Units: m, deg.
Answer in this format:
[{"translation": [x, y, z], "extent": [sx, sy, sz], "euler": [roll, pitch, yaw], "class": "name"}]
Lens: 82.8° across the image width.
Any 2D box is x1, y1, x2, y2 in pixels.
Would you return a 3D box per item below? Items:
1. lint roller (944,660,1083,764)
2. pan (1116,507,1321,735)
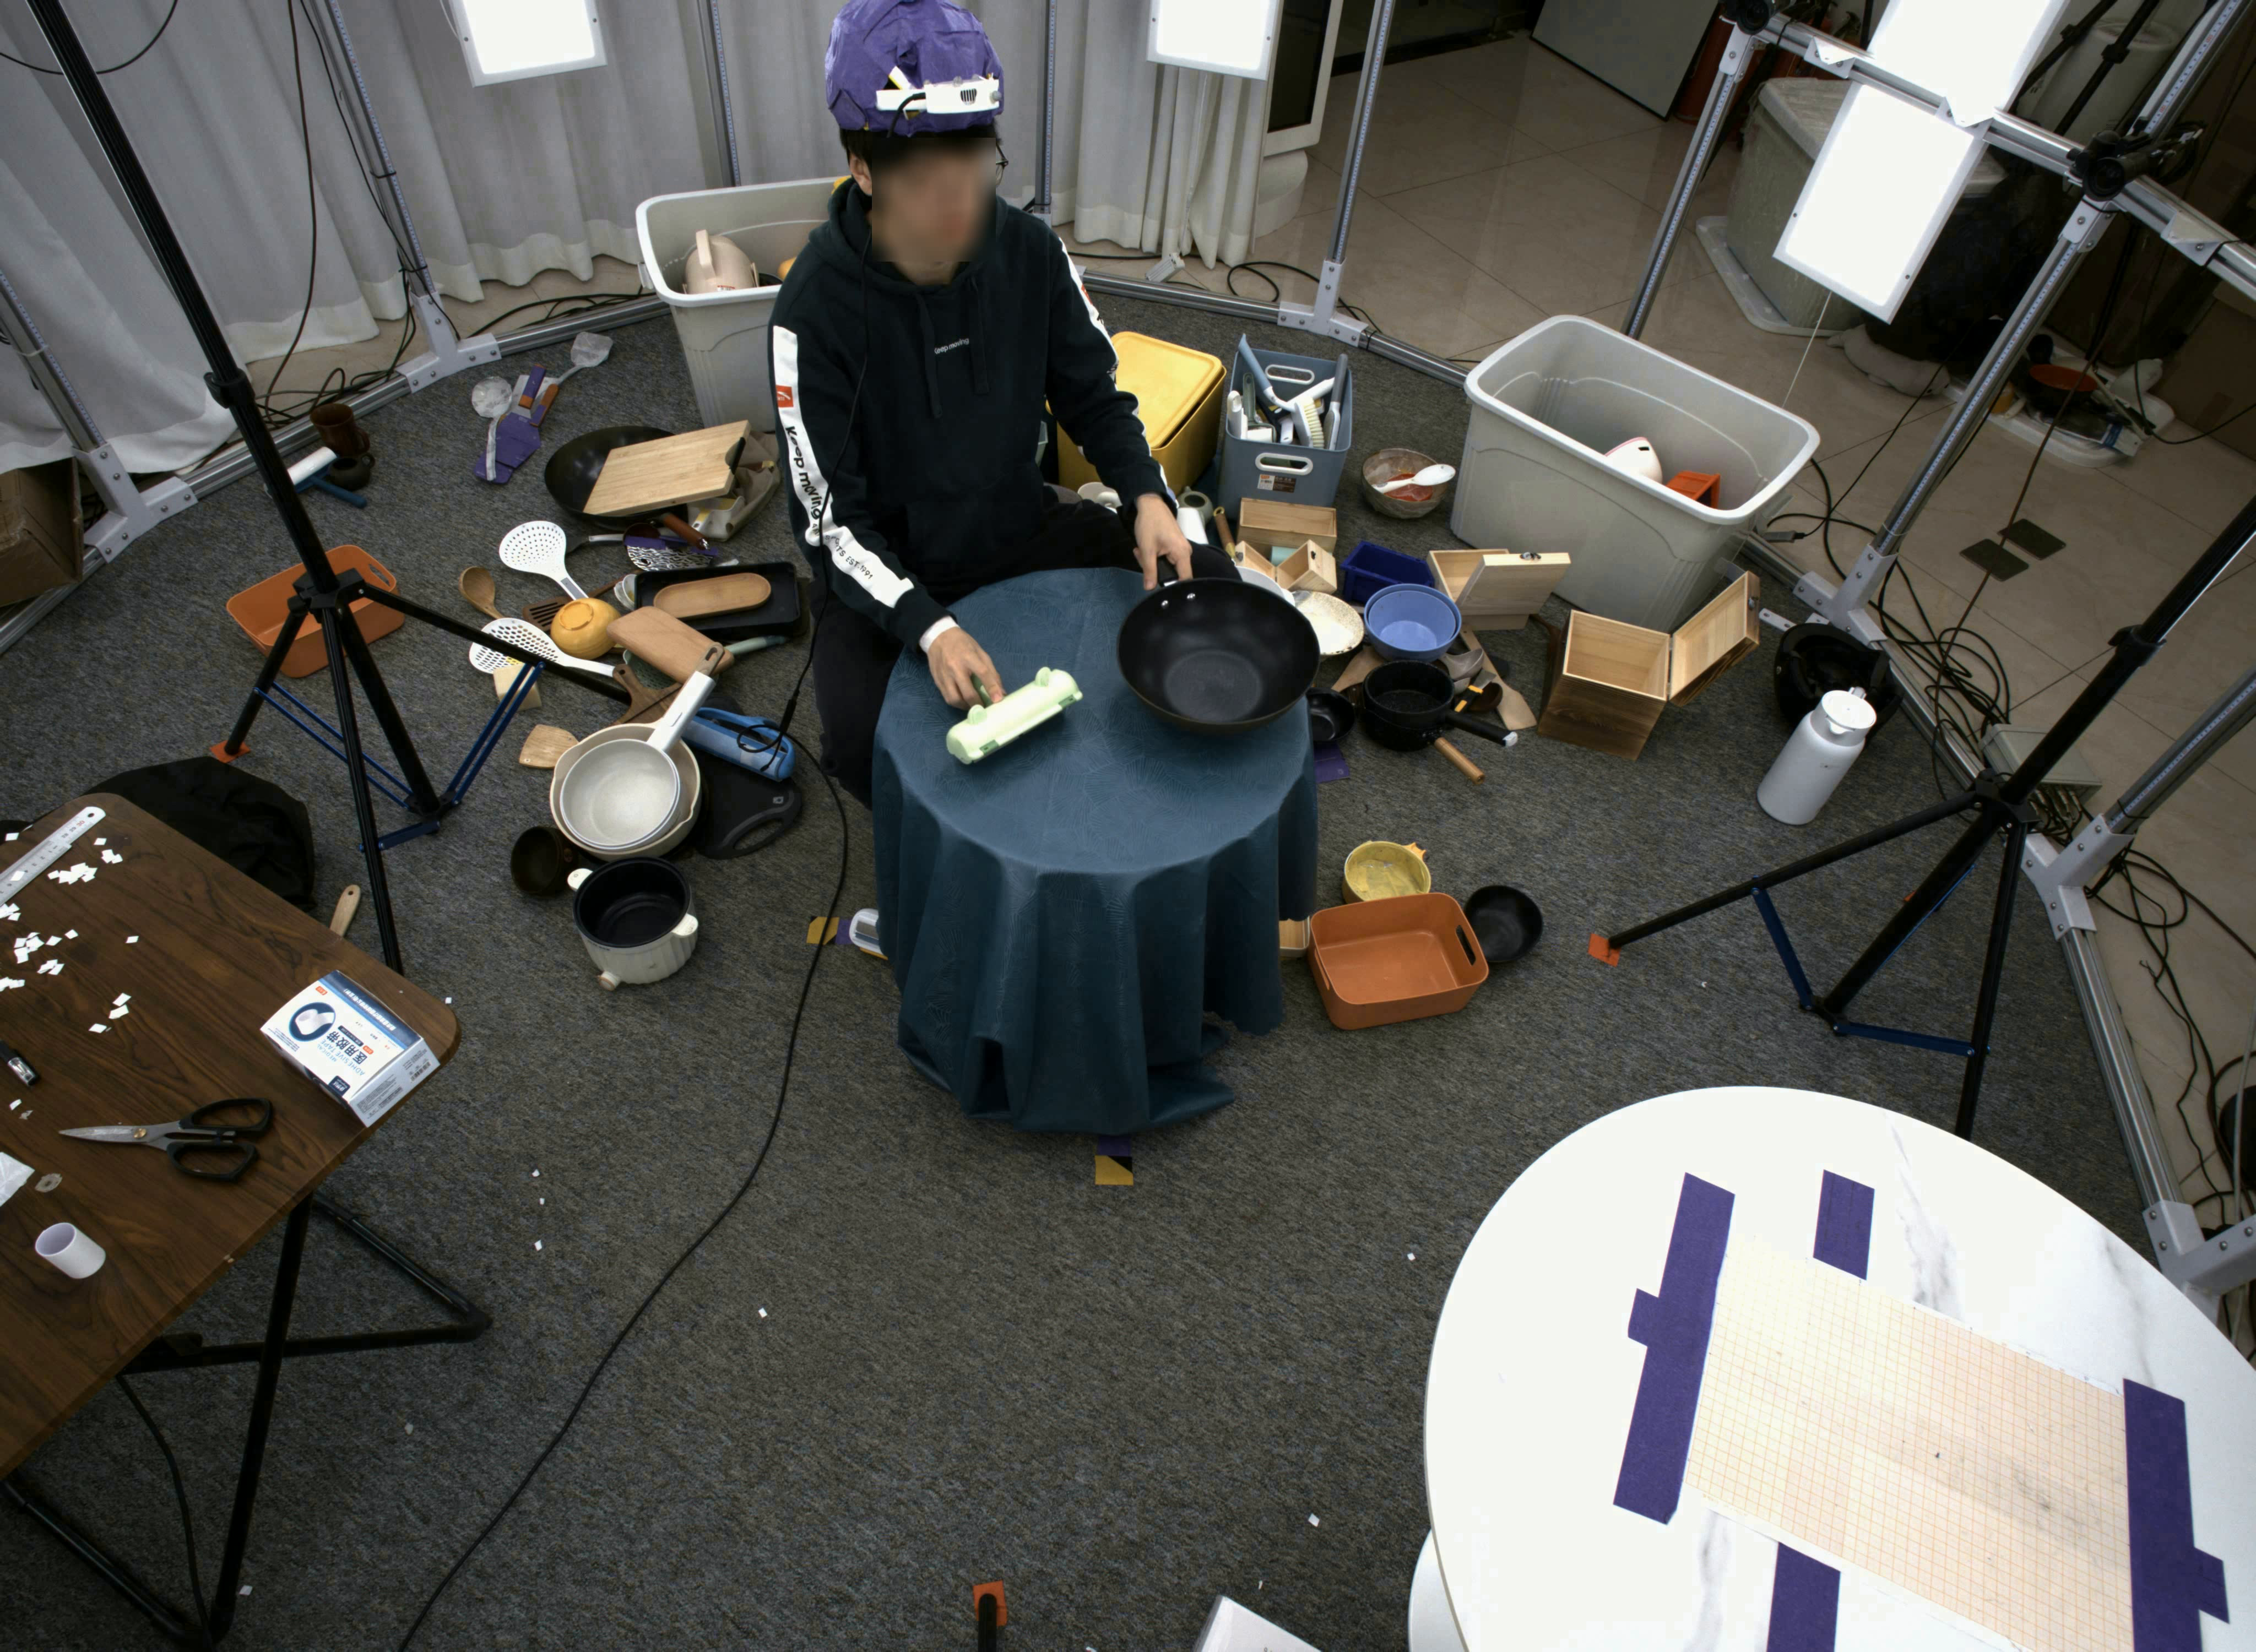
[{"translation": [-0.190, -0.189, 1.748], "extent": [0.200, 0.080, 0.186], "euler": [-33, 62, -28], "class": "lint roller"}, {"translation": [0.085, -0.290, 1.847], "extent": [0.288, 0.085, 0.474], "euler": [-19, 54, -16], "class": "pan"}]
